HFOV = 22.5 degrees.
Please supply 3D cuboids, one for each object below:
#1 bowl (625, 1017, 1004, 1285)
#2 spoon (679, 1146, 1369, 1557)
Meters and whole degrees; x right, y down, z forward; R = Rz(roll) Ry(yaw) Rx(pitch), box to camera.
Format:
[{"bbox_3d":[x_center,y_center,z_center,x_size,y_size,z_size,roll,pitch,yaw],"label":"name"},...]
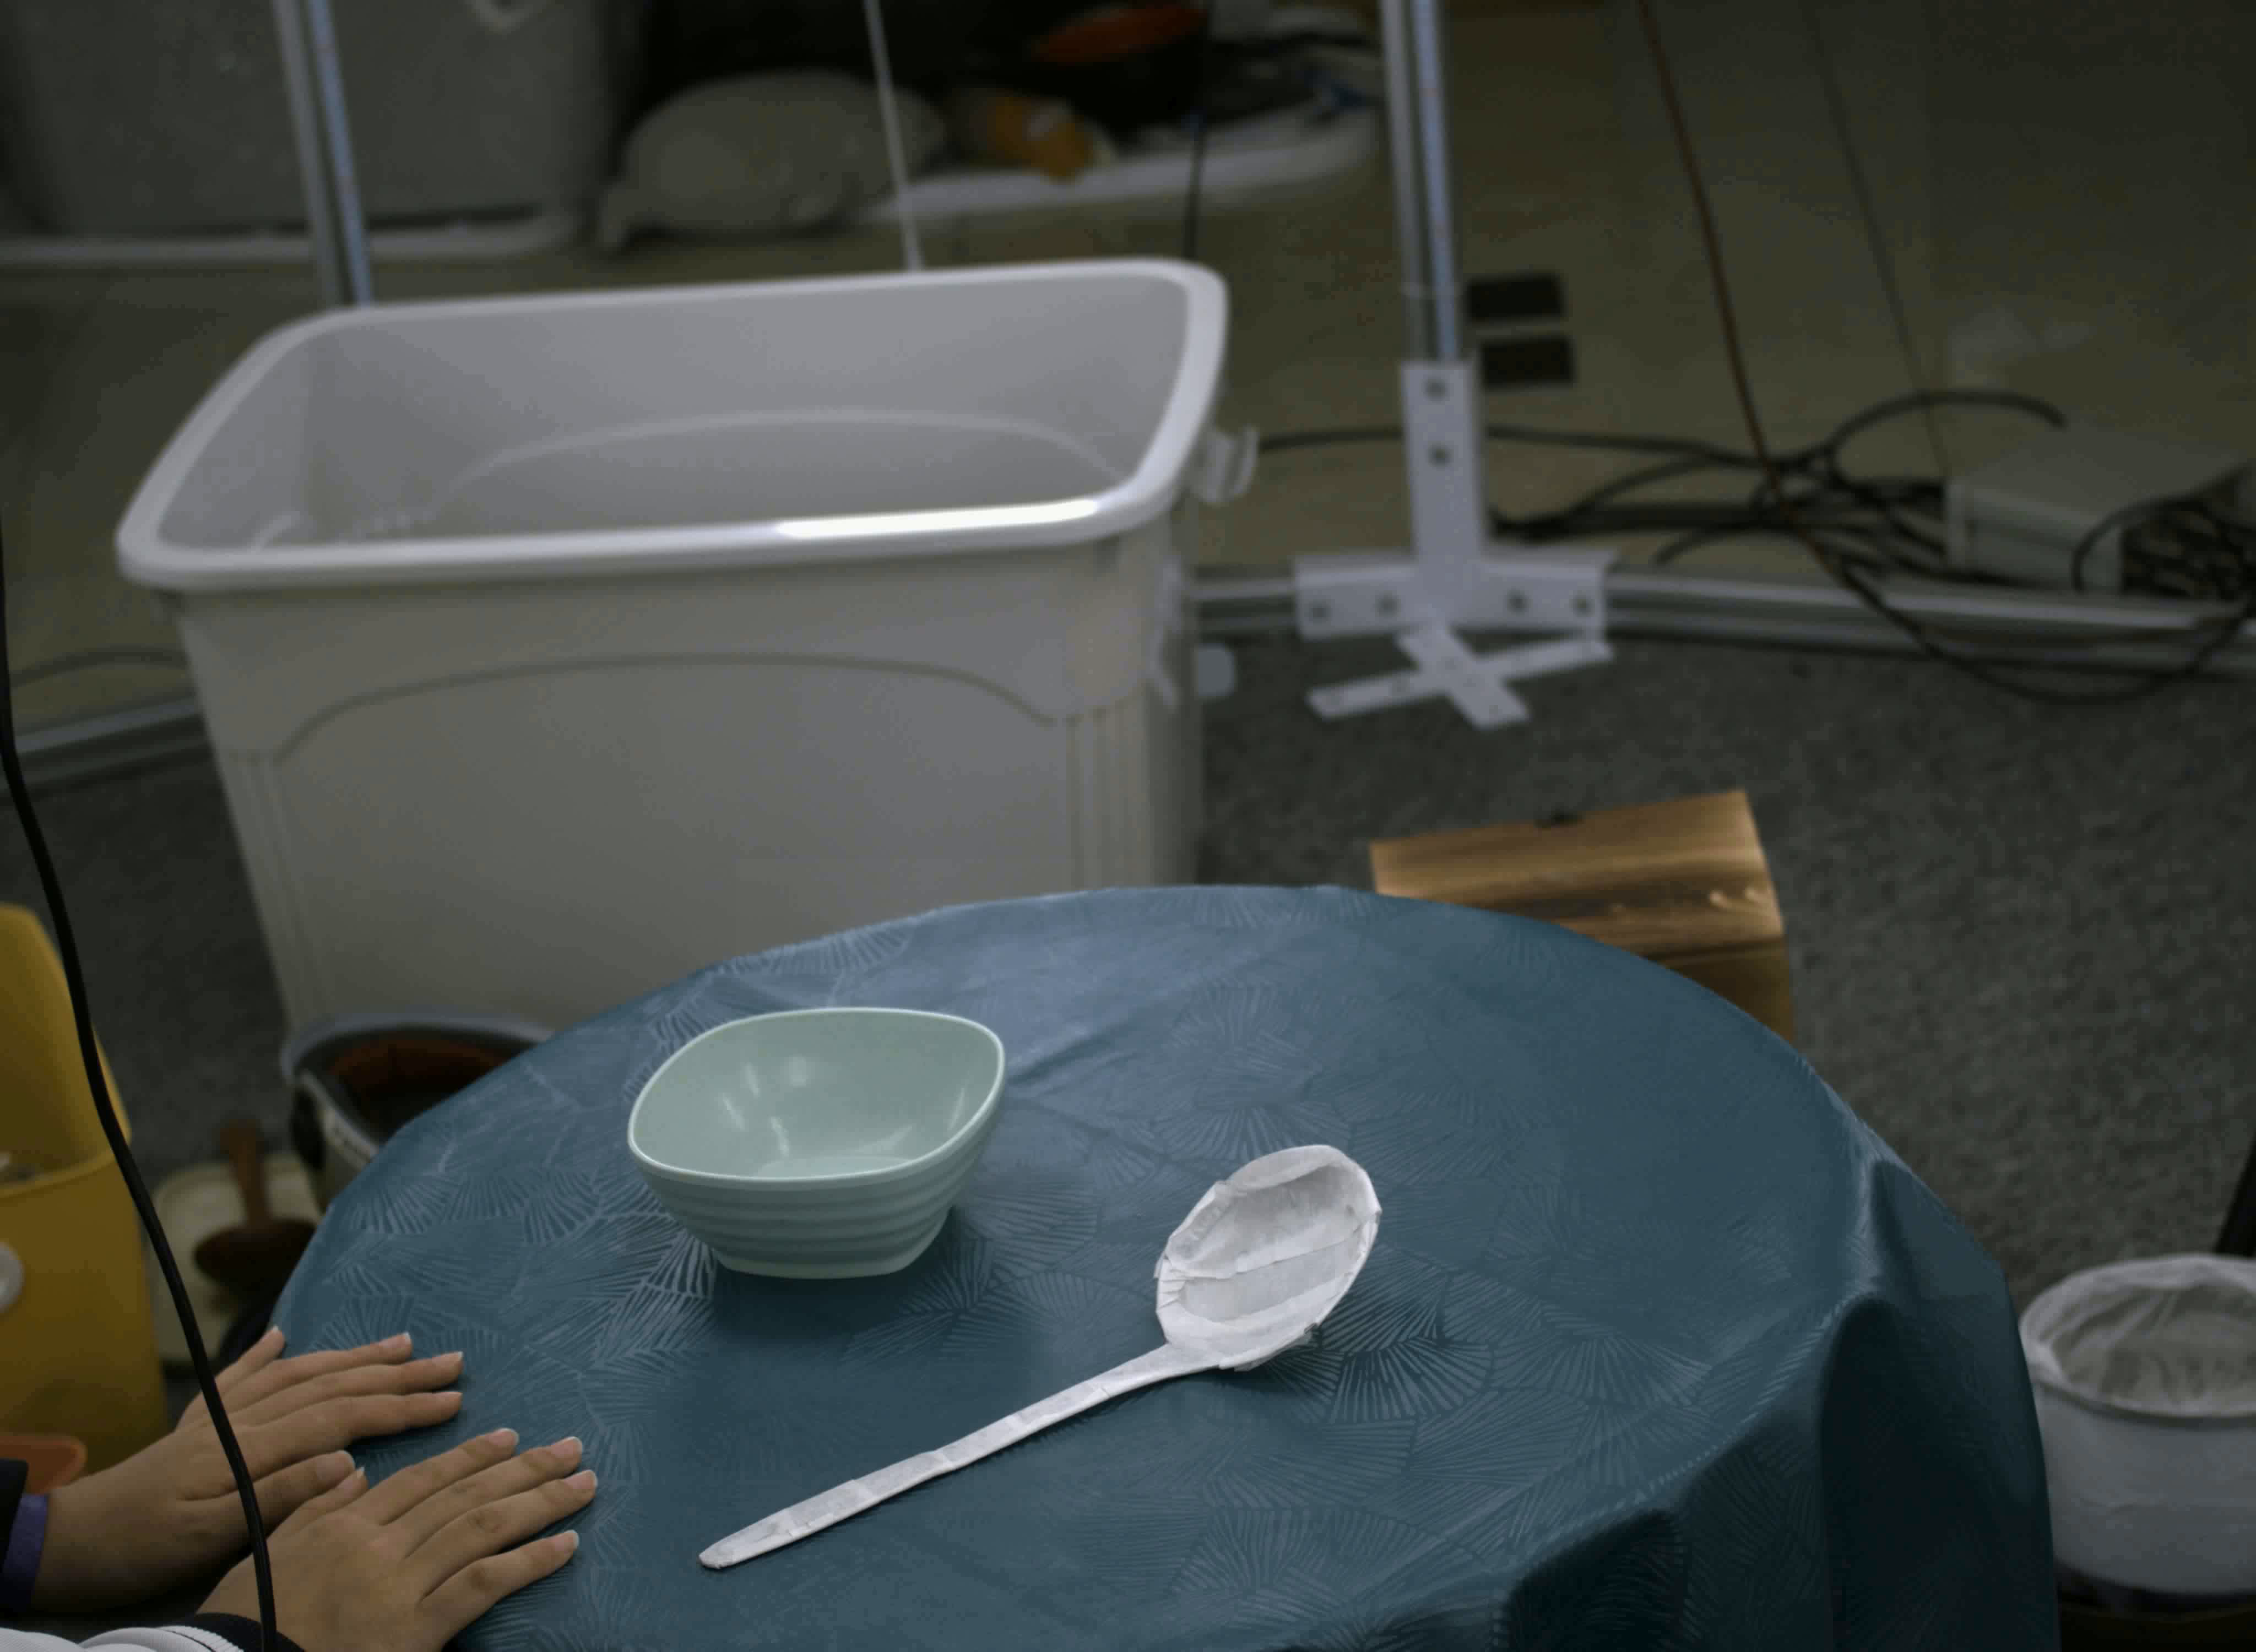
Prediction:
[{"bbox_3d":[-0.114,0.128,2.137,0.151,0.059,0.149,-5,25,2],"label":"bowl"},{"bbox_3d":[-0.039,0.182,1.996,0.276,0.060,0.100,-18,23,-24],"label":"spoon"}]
